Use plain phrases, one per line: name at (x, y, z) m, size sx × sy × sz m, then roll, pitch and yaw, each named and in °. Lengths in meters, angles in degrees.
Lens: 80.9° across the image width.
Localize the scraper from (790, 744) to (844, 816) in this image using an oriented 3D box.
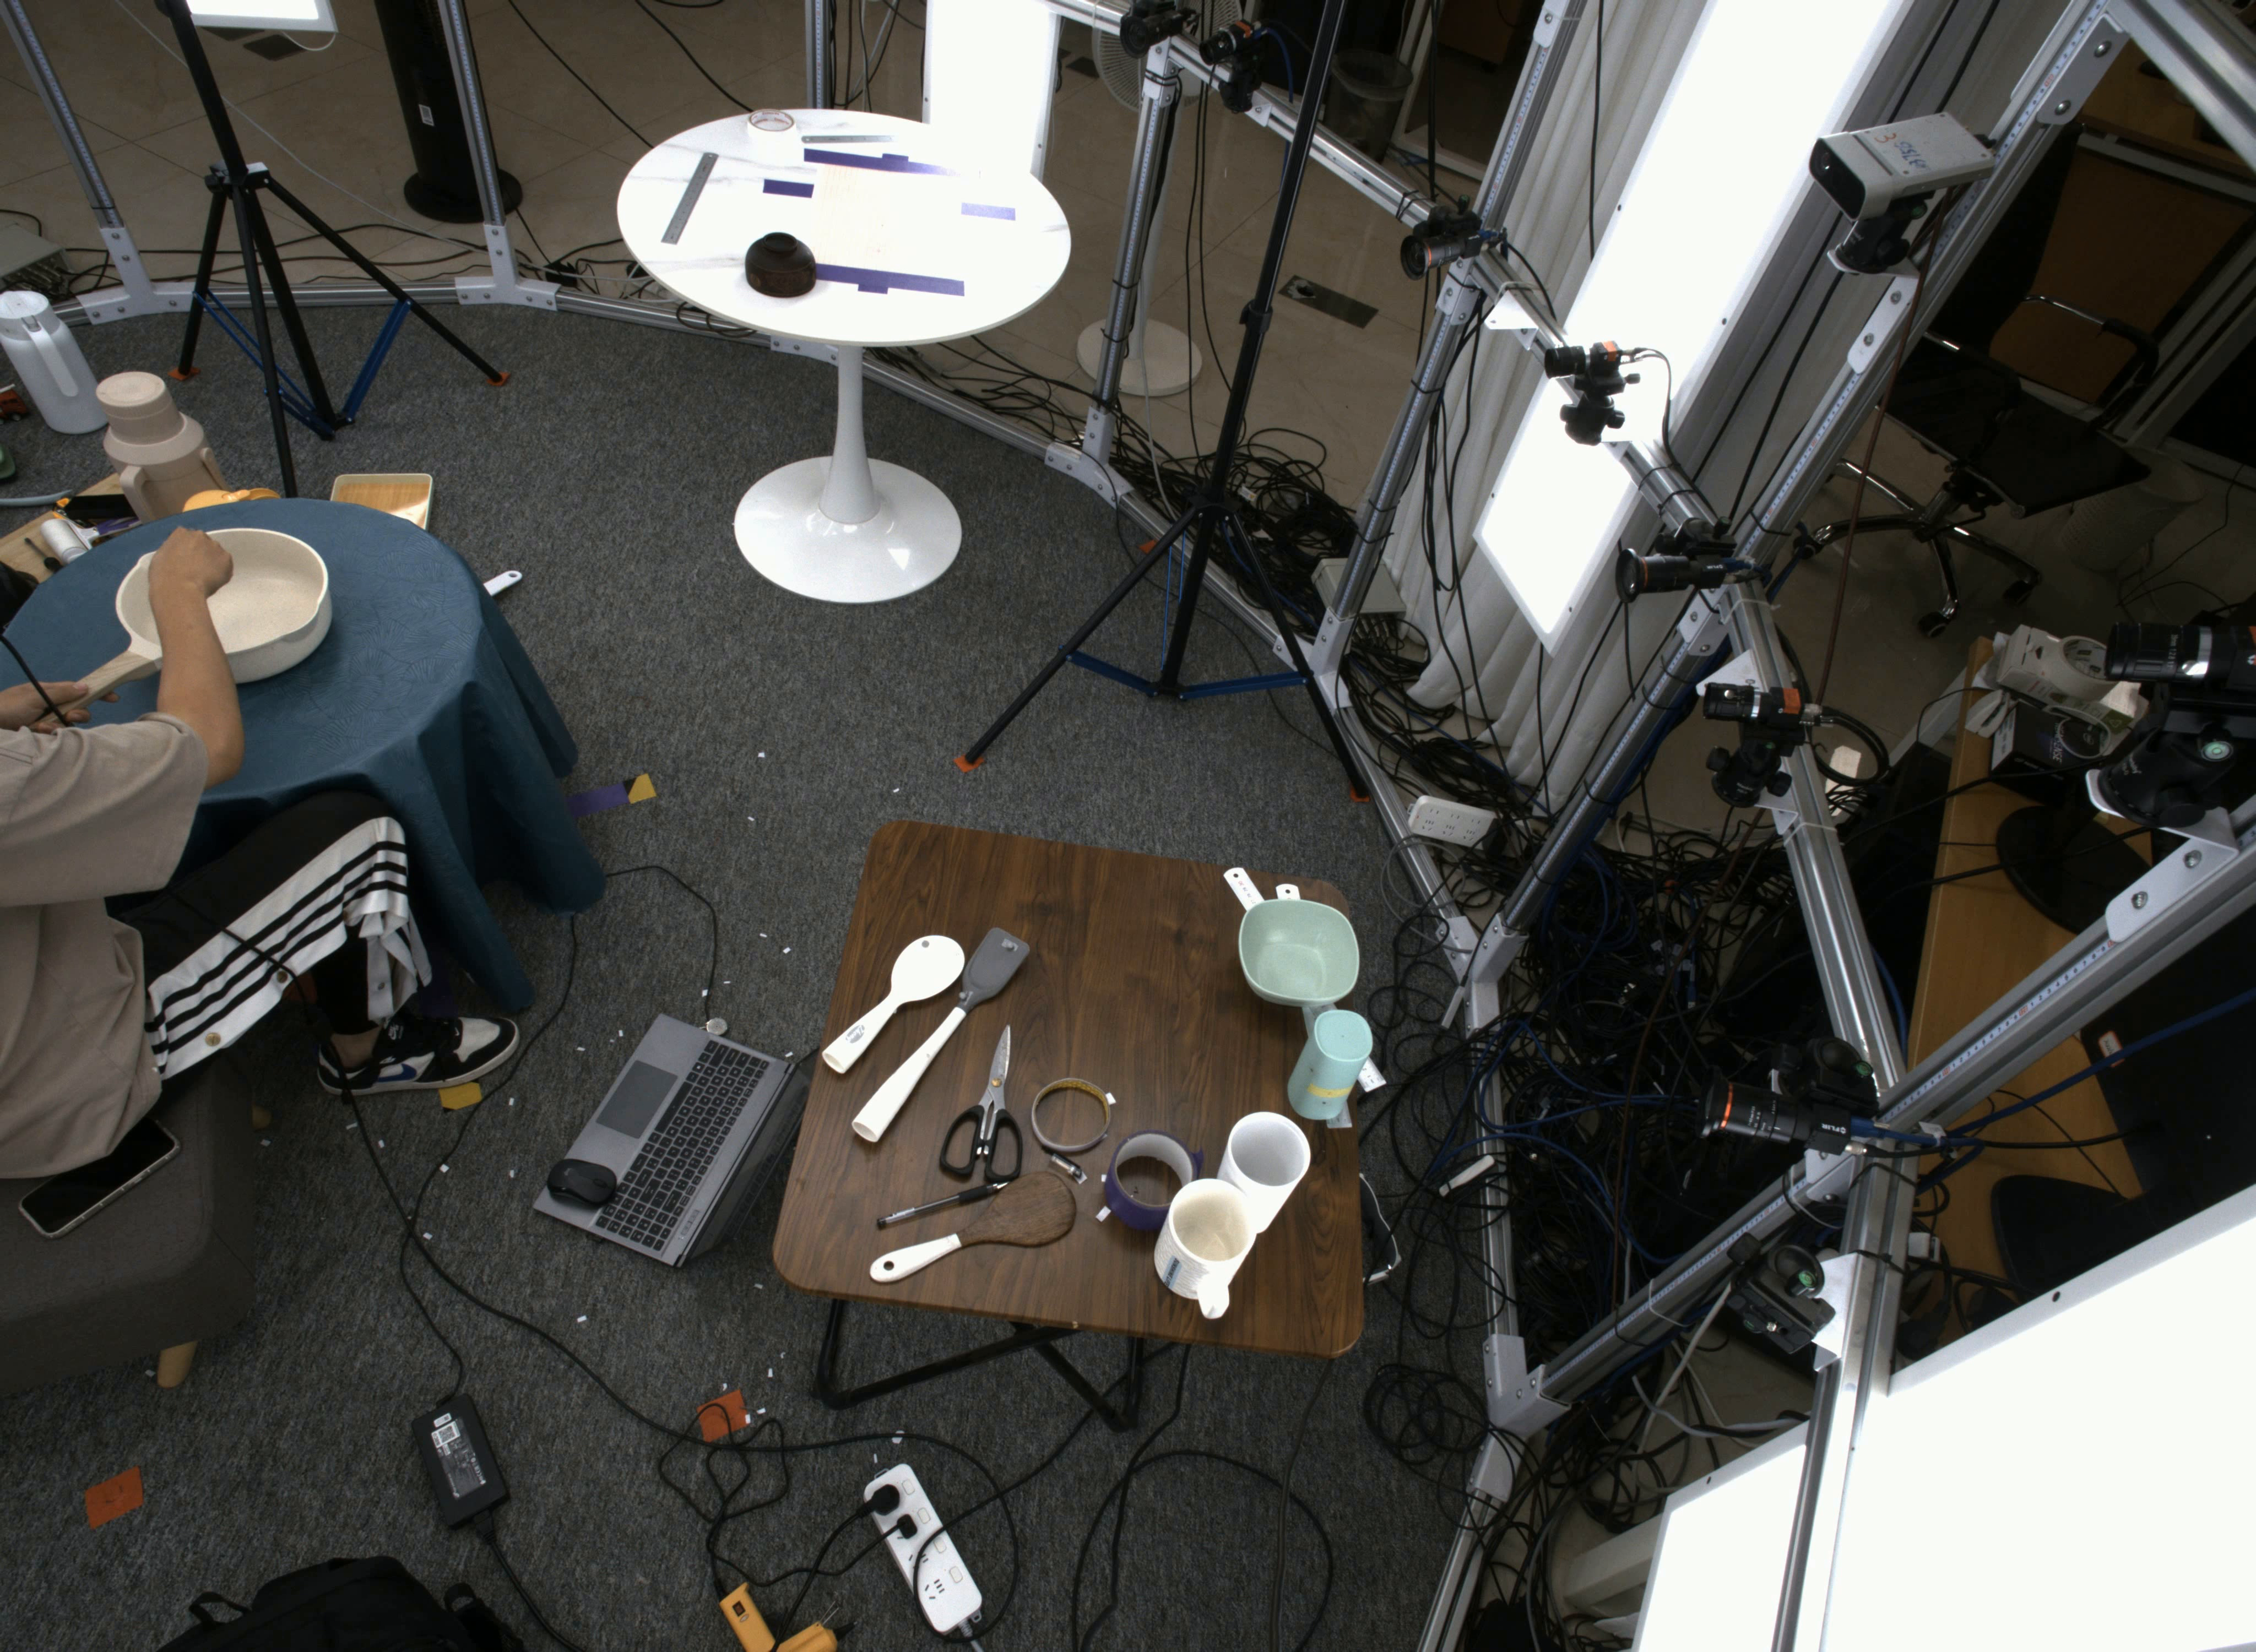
scraper at (-0.367, -0.057, 1.536) m, size 0.039 × 0.015 × 0.165 m, roll 2°, pitch 29°, yaw -28°

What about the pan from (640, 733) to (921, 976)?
pan at (-0.445, 0.053, 1.630) m, size 0.259 × 0.104 × 0.434 m, roll 35°, pitch 54°, yaw 10°
